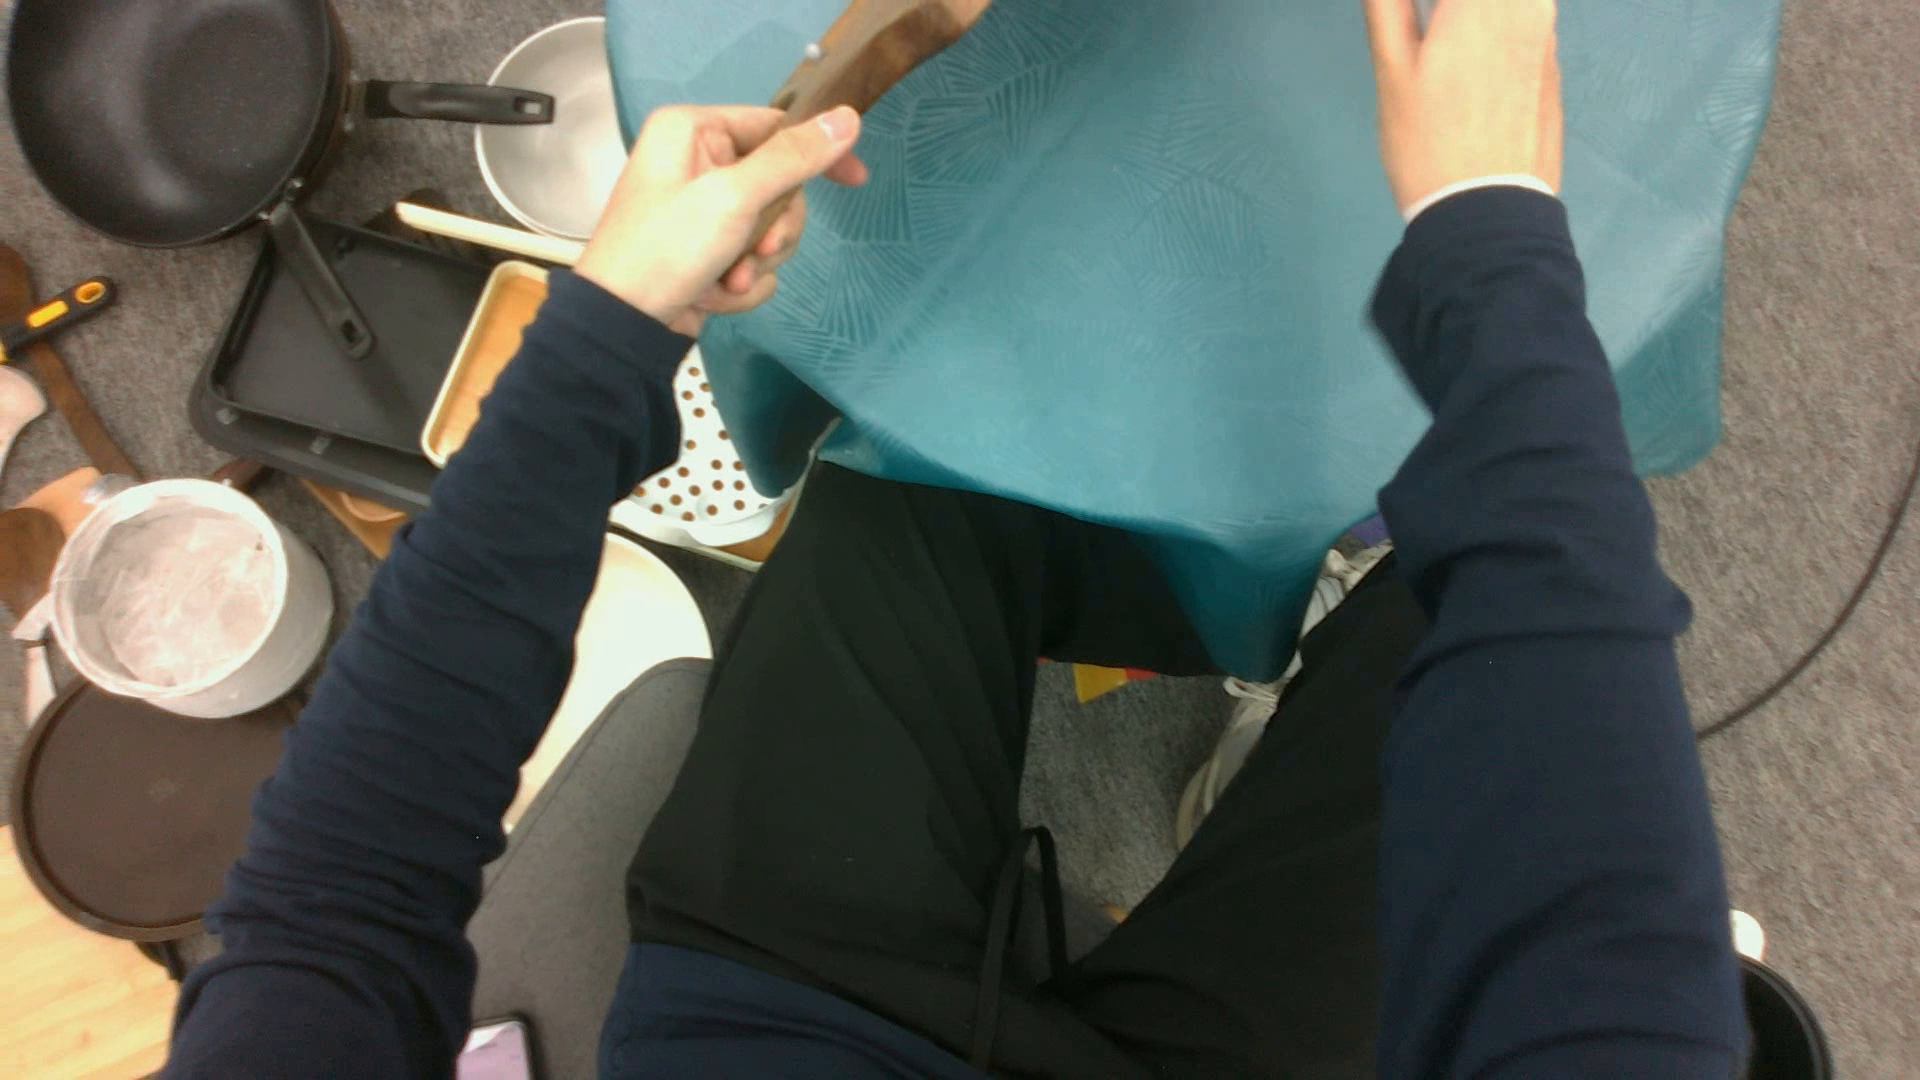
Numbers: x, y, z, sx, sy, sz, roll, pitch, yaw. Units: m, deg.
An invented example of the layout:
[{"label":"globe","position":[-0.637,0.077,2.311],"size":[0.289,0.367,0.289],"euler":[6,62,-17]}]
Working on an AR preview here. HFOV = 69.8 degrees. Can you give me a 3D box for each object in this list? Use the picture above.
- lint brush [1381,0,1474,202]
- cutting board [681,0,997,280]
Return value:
[{"label":"lint brush","position":[0.166,-0.288,0.545],"size":[0.060,0.021,0.308],"euler":[-17,99,-30]},{"label":"cutting board","position":[-0.005,-0.250,0.591],"size":[0.023,0.201,0.353],"euler":[41,77,-23]}]
